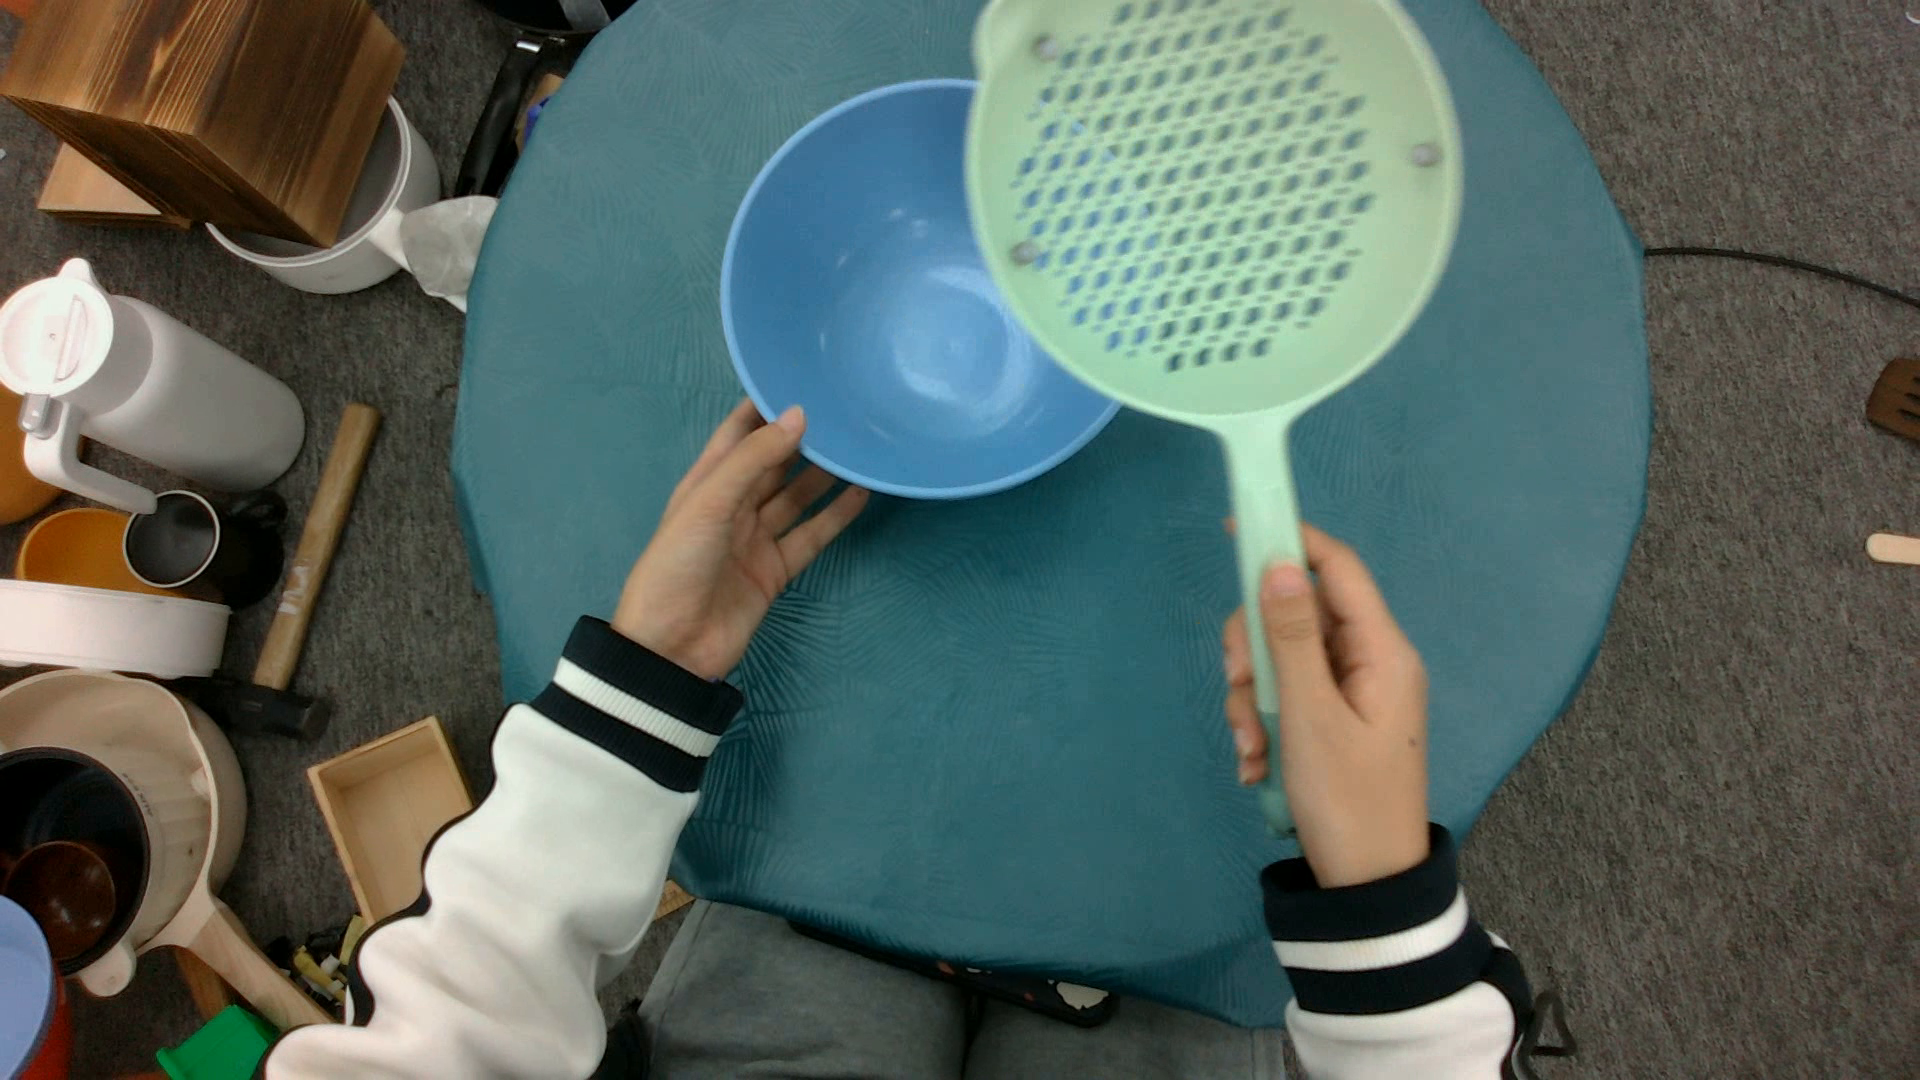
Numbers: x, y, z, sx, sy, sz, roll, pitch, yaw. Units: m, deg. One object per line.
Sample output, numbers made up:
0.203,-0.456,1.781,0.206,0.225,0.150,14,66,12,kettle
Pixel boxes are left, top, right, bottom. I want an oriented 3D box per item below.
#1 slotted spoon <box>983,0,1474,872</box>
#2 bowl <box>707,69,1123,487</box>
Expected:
0.107,-0.040,0.509,0.169,0.075,0.358,-7,94,5,slotted spoon
-0.013,-0.111,0.654,0.196,0.095,0.197,0,78,1,bowl
